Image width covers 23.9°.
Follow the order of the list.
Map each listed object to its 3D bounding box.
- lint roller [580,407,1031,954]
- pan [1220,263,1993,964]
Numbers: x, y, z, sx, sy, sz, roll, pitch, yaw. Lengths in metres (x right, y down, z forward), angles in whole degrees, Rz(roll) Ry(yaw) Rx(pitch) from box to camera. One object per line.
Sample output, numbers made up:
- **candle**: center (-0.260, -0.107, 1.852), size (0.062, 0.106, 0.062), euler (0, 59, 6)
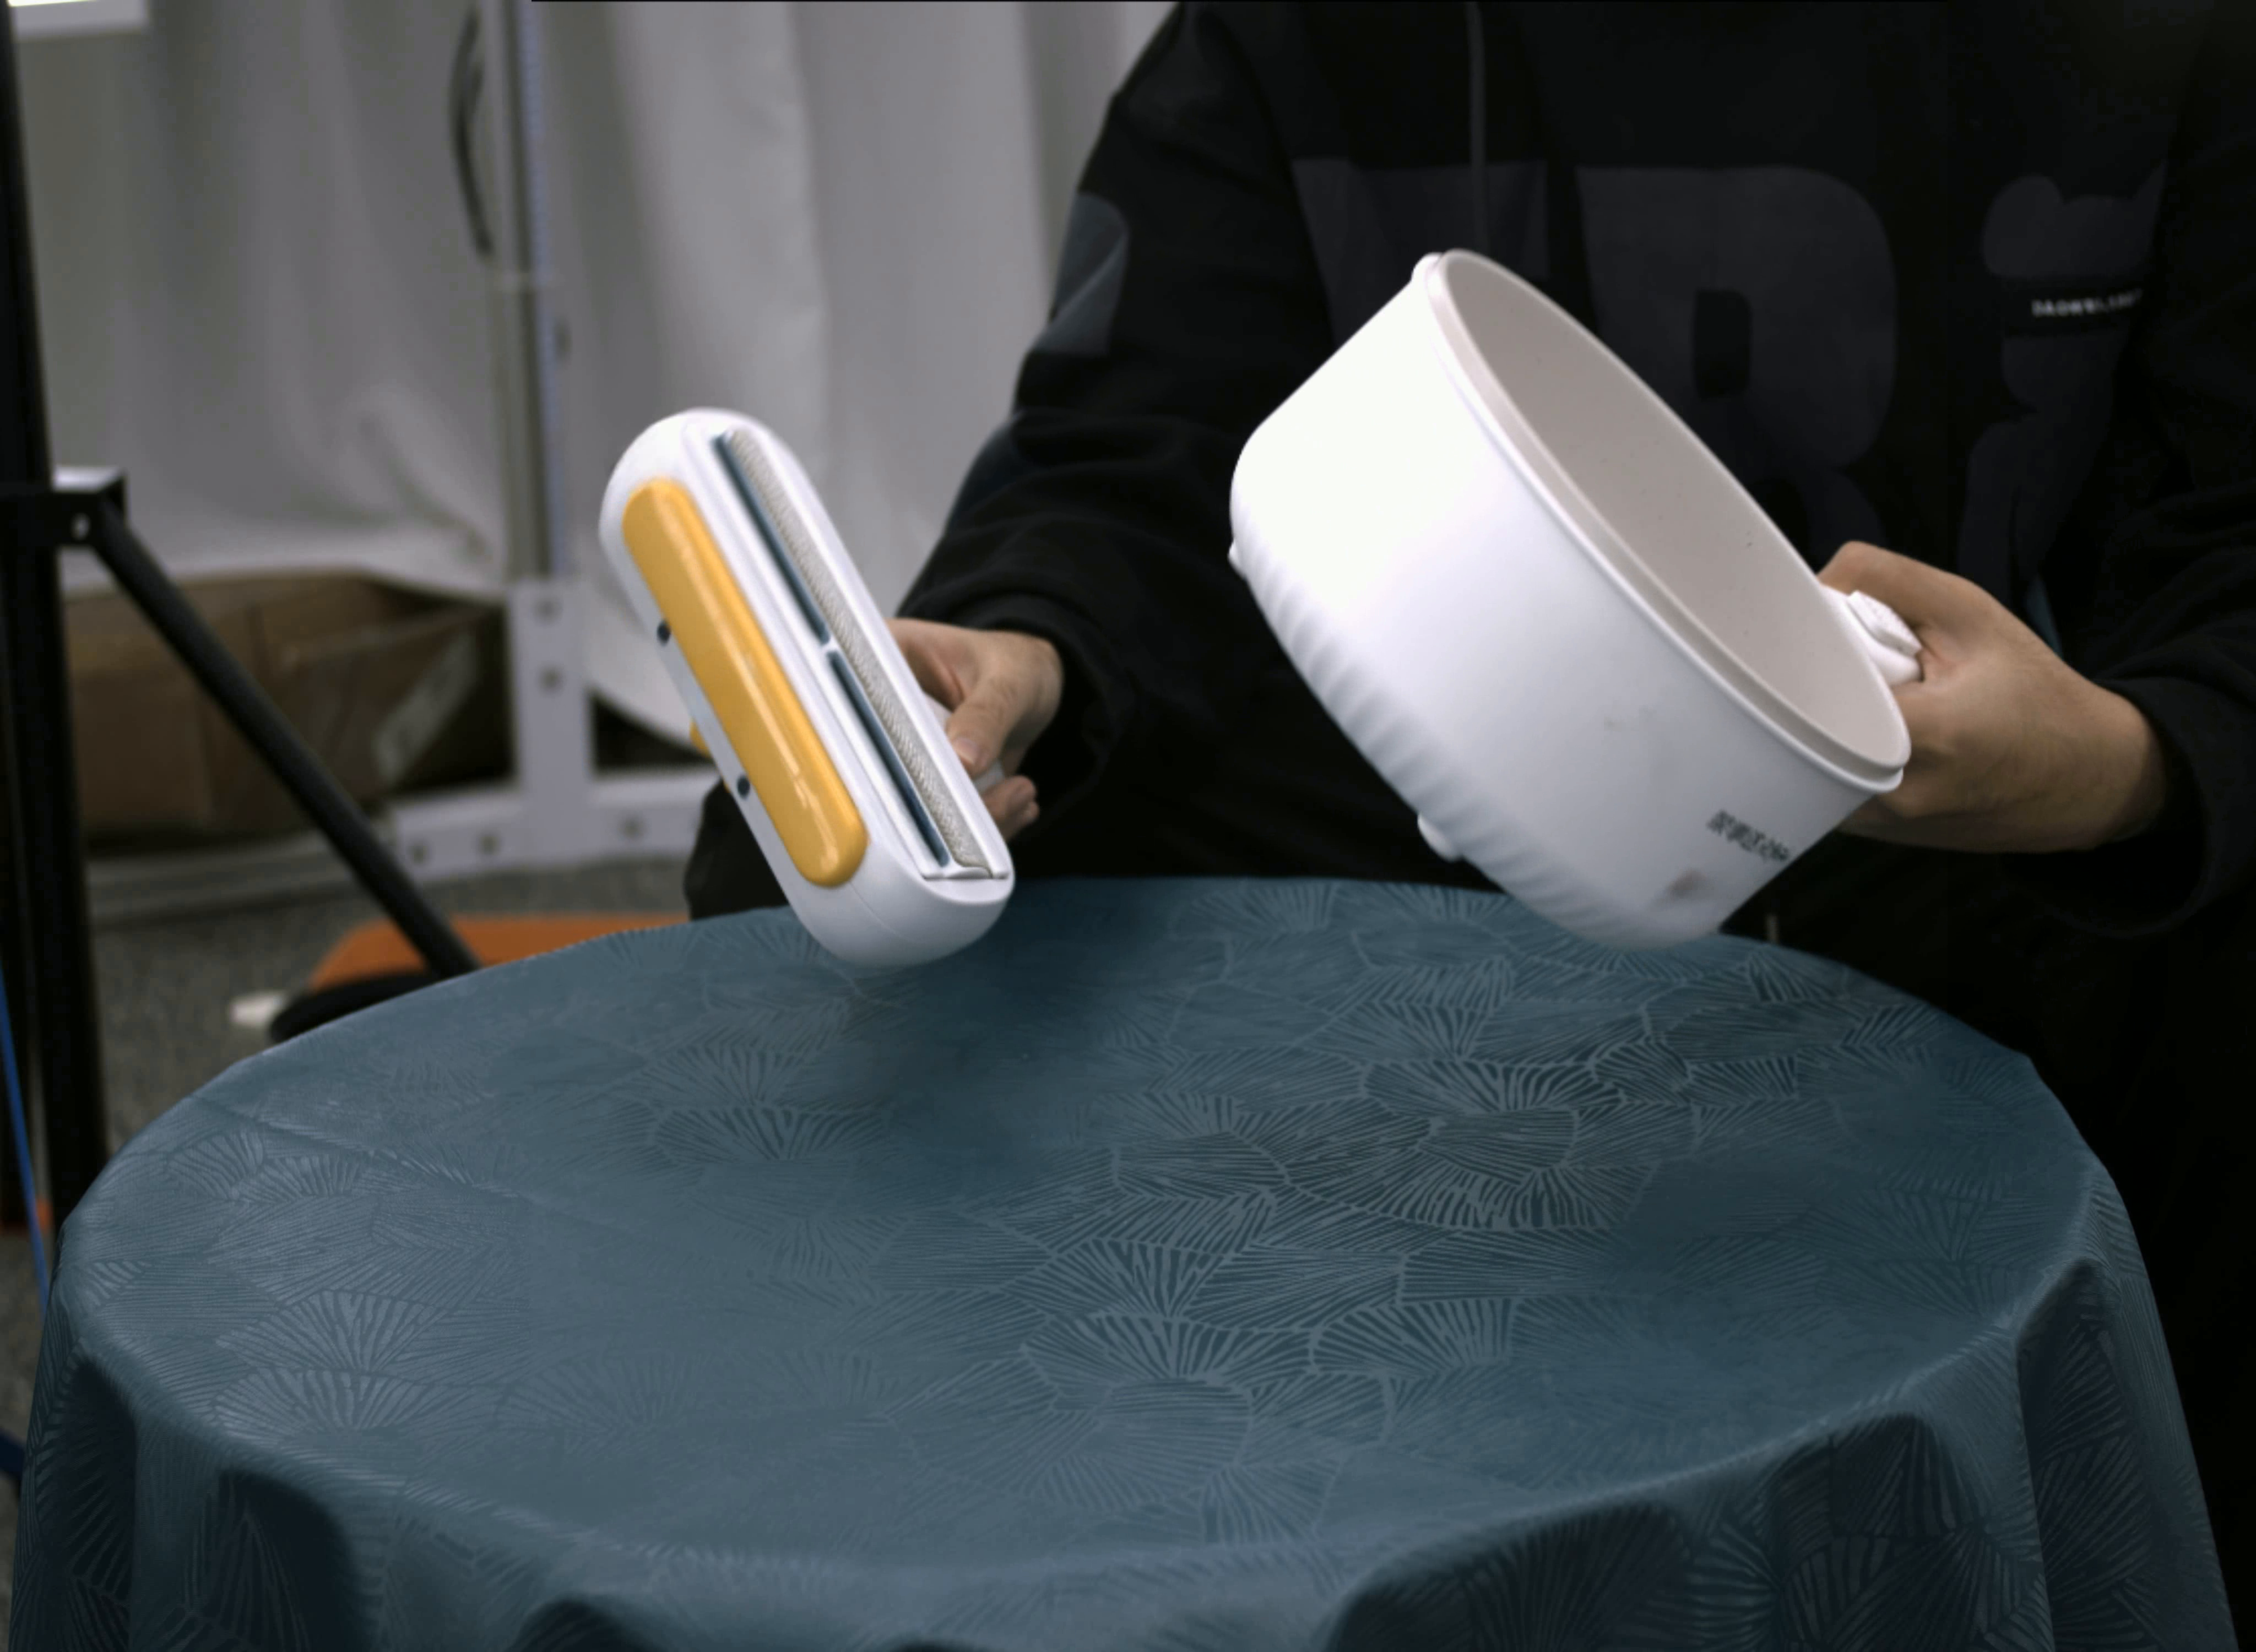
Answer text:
- **lint roller**: center (-0.079, -0.034, 1.701), size (0.187, 0.075, 0.196), euler (14, 38, -56)
- **pan**: center (0.153, -0.041, 1.572), size (0.205, 0.102, 0.346), euler (53, 17, 27)
